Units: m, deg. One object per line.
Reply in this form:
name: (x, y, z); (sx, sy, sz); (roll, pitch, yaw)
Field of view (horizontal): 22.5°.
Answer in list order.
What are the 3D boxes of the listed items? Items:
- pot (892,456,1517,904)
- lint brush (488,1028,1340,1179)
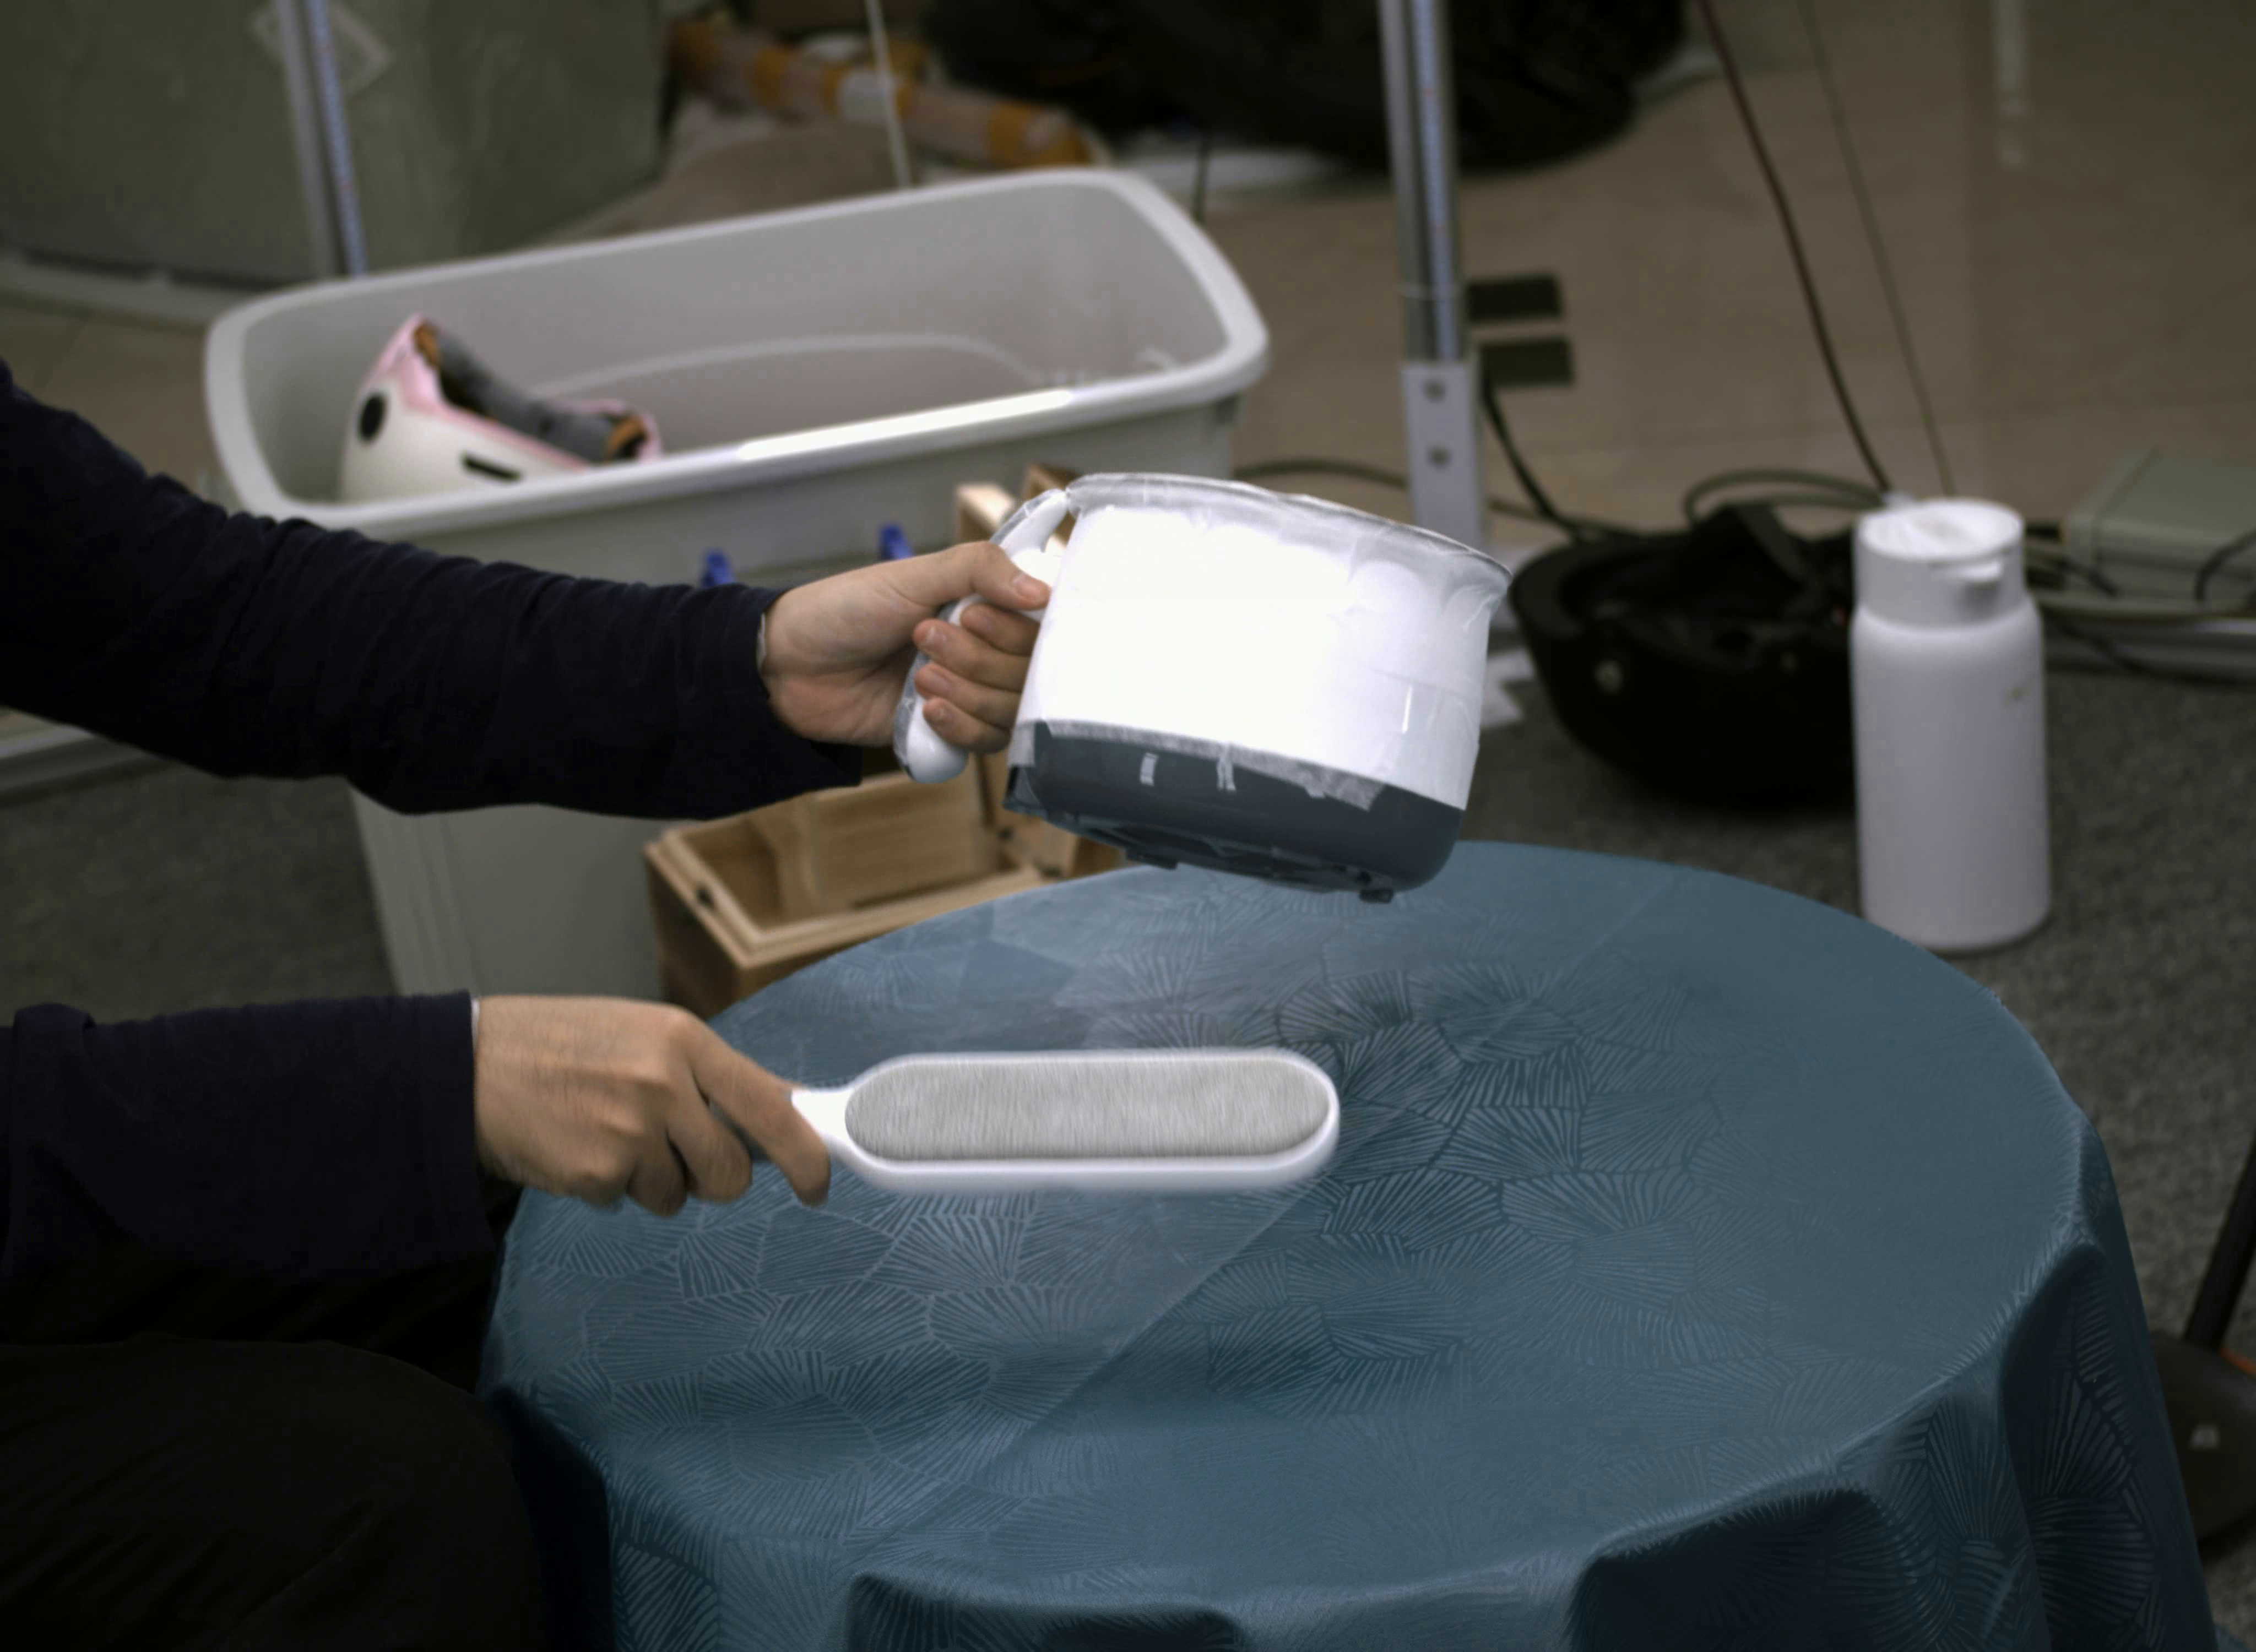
pot: (0.024, -0.059, 2.196); (0.233, 0.136, 0.180); (11, -9, 21)
lint brush: (-0.078, 0.100, 2.035); (0.308, 0.021, 0.059); (-1, 51, 6)
